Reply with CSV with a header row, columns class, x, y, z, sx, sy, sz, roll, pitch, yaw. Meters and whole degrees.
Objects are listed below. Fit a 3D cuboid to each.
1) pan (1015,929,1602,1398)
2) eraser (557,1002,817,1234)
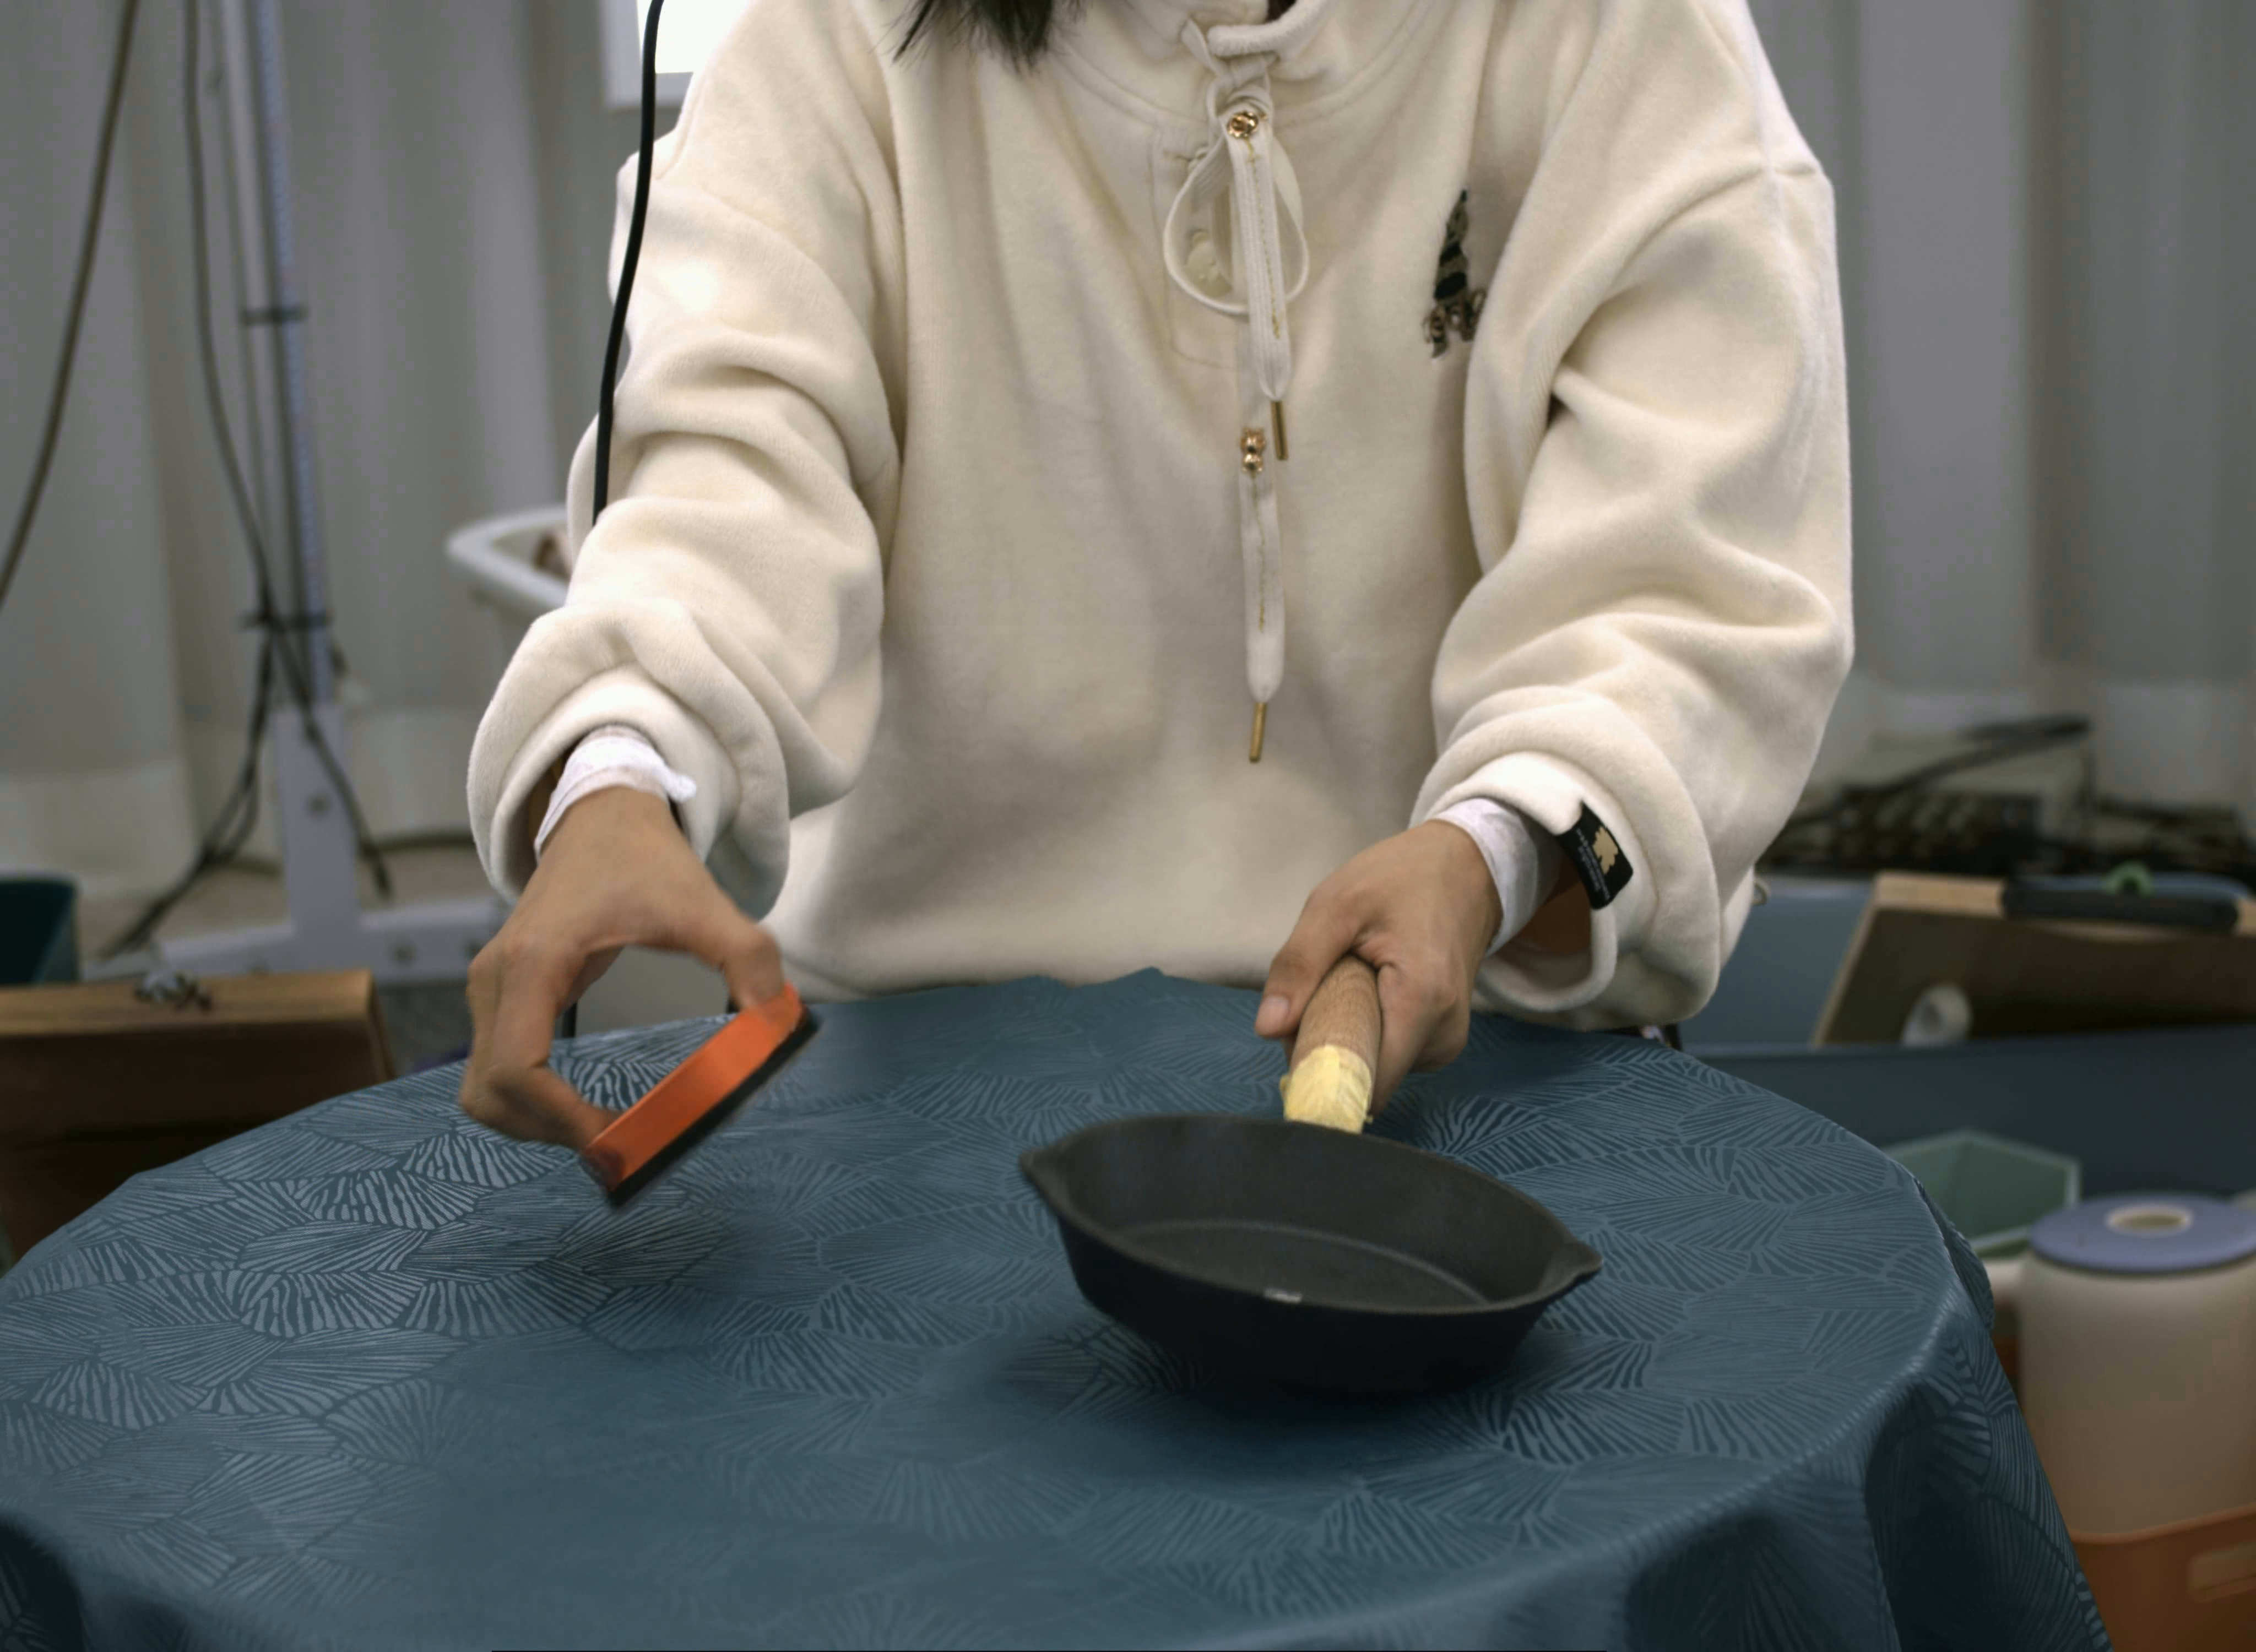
class,x,y,z,sx,sy,sz,roll,pitch,yaw
pan,0.060,0.097,1.640,0.168,0.049,0.326,8,16,5
eraser,-0.132,0.088,1.654,0.059,0.023,0.108,-39,1,15
